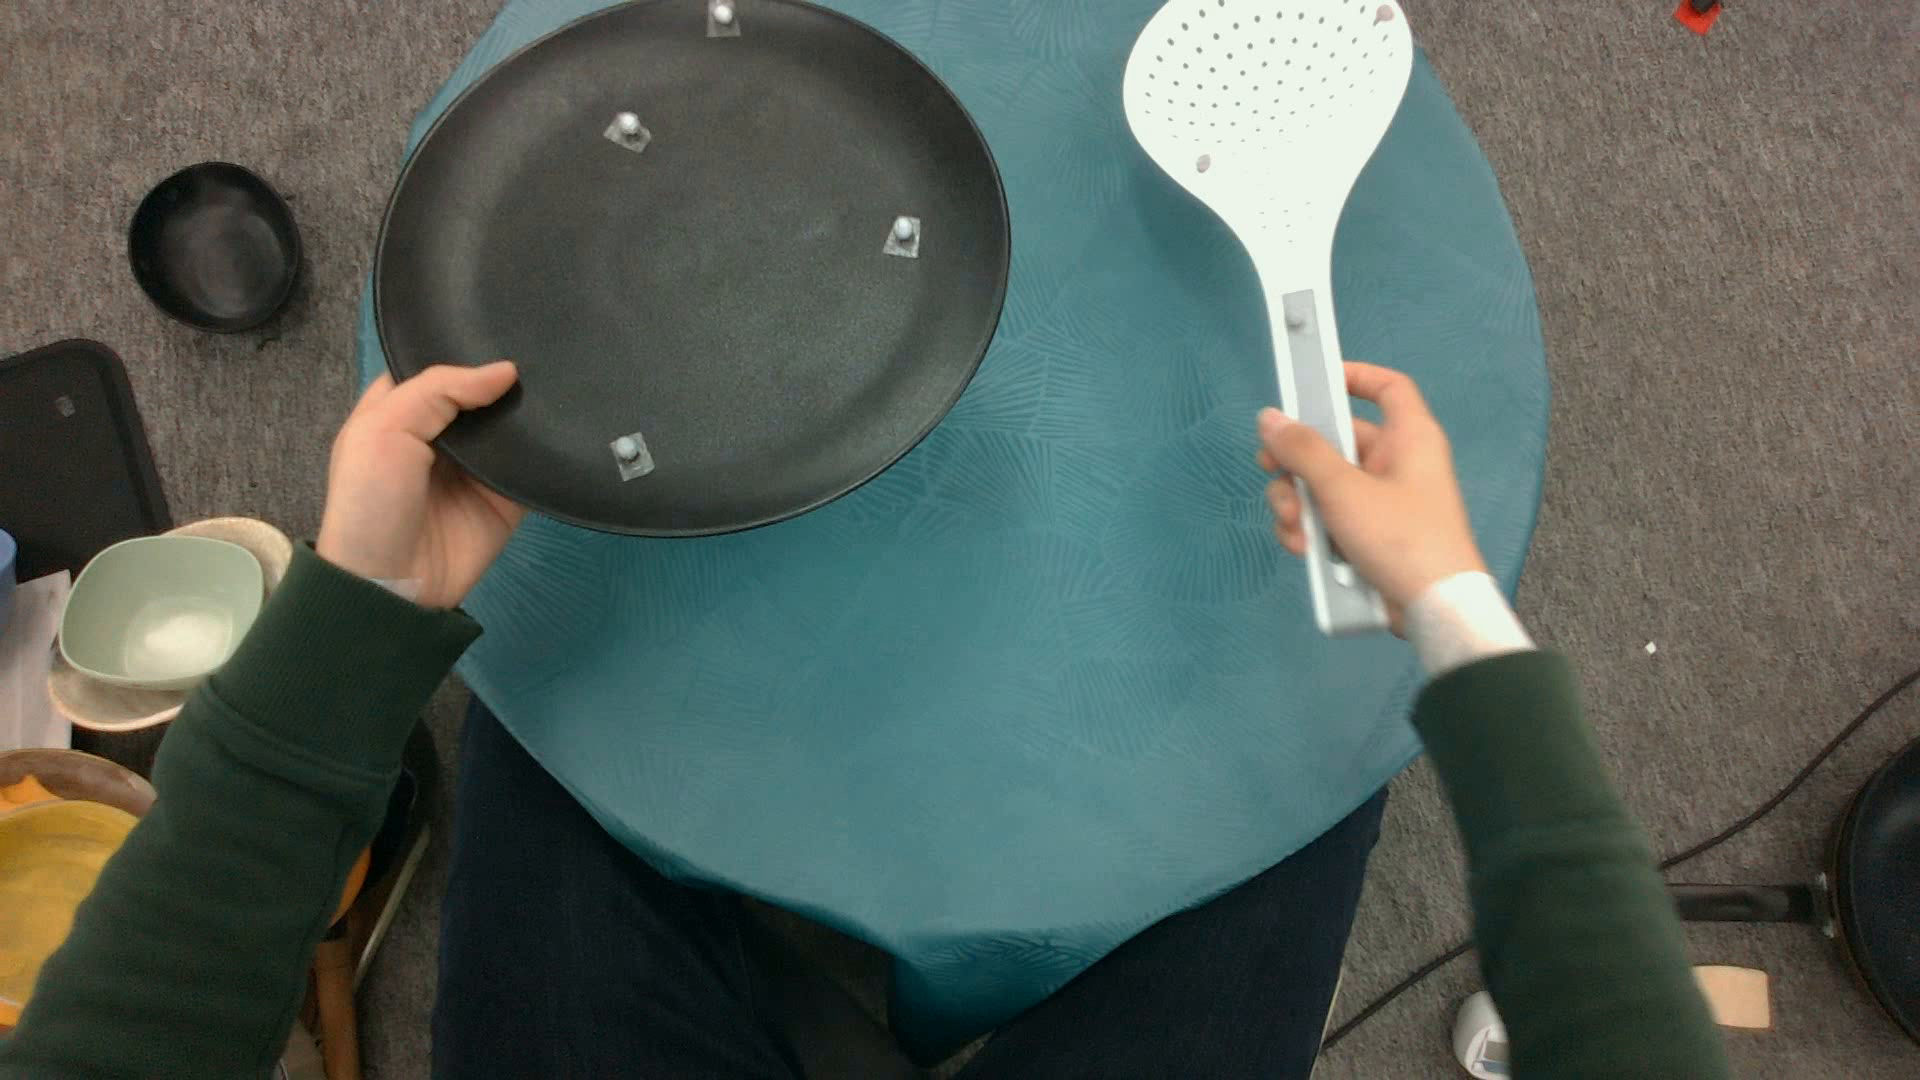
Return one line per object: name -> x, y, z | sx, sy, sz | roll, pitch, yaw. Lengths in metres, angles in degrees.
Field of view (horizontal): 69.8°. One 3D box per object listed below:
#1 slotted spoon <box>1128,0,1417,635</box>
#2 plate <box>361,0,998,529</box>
slotted spoon -> 0.154, -0.126, 0.618 | 0.136, 0.045, 0.351 | -10, 63, 17
plate -> -0.107, -0.115, 0.539 | 0.244, 0.023, 0.245 | 0, 70, -1
